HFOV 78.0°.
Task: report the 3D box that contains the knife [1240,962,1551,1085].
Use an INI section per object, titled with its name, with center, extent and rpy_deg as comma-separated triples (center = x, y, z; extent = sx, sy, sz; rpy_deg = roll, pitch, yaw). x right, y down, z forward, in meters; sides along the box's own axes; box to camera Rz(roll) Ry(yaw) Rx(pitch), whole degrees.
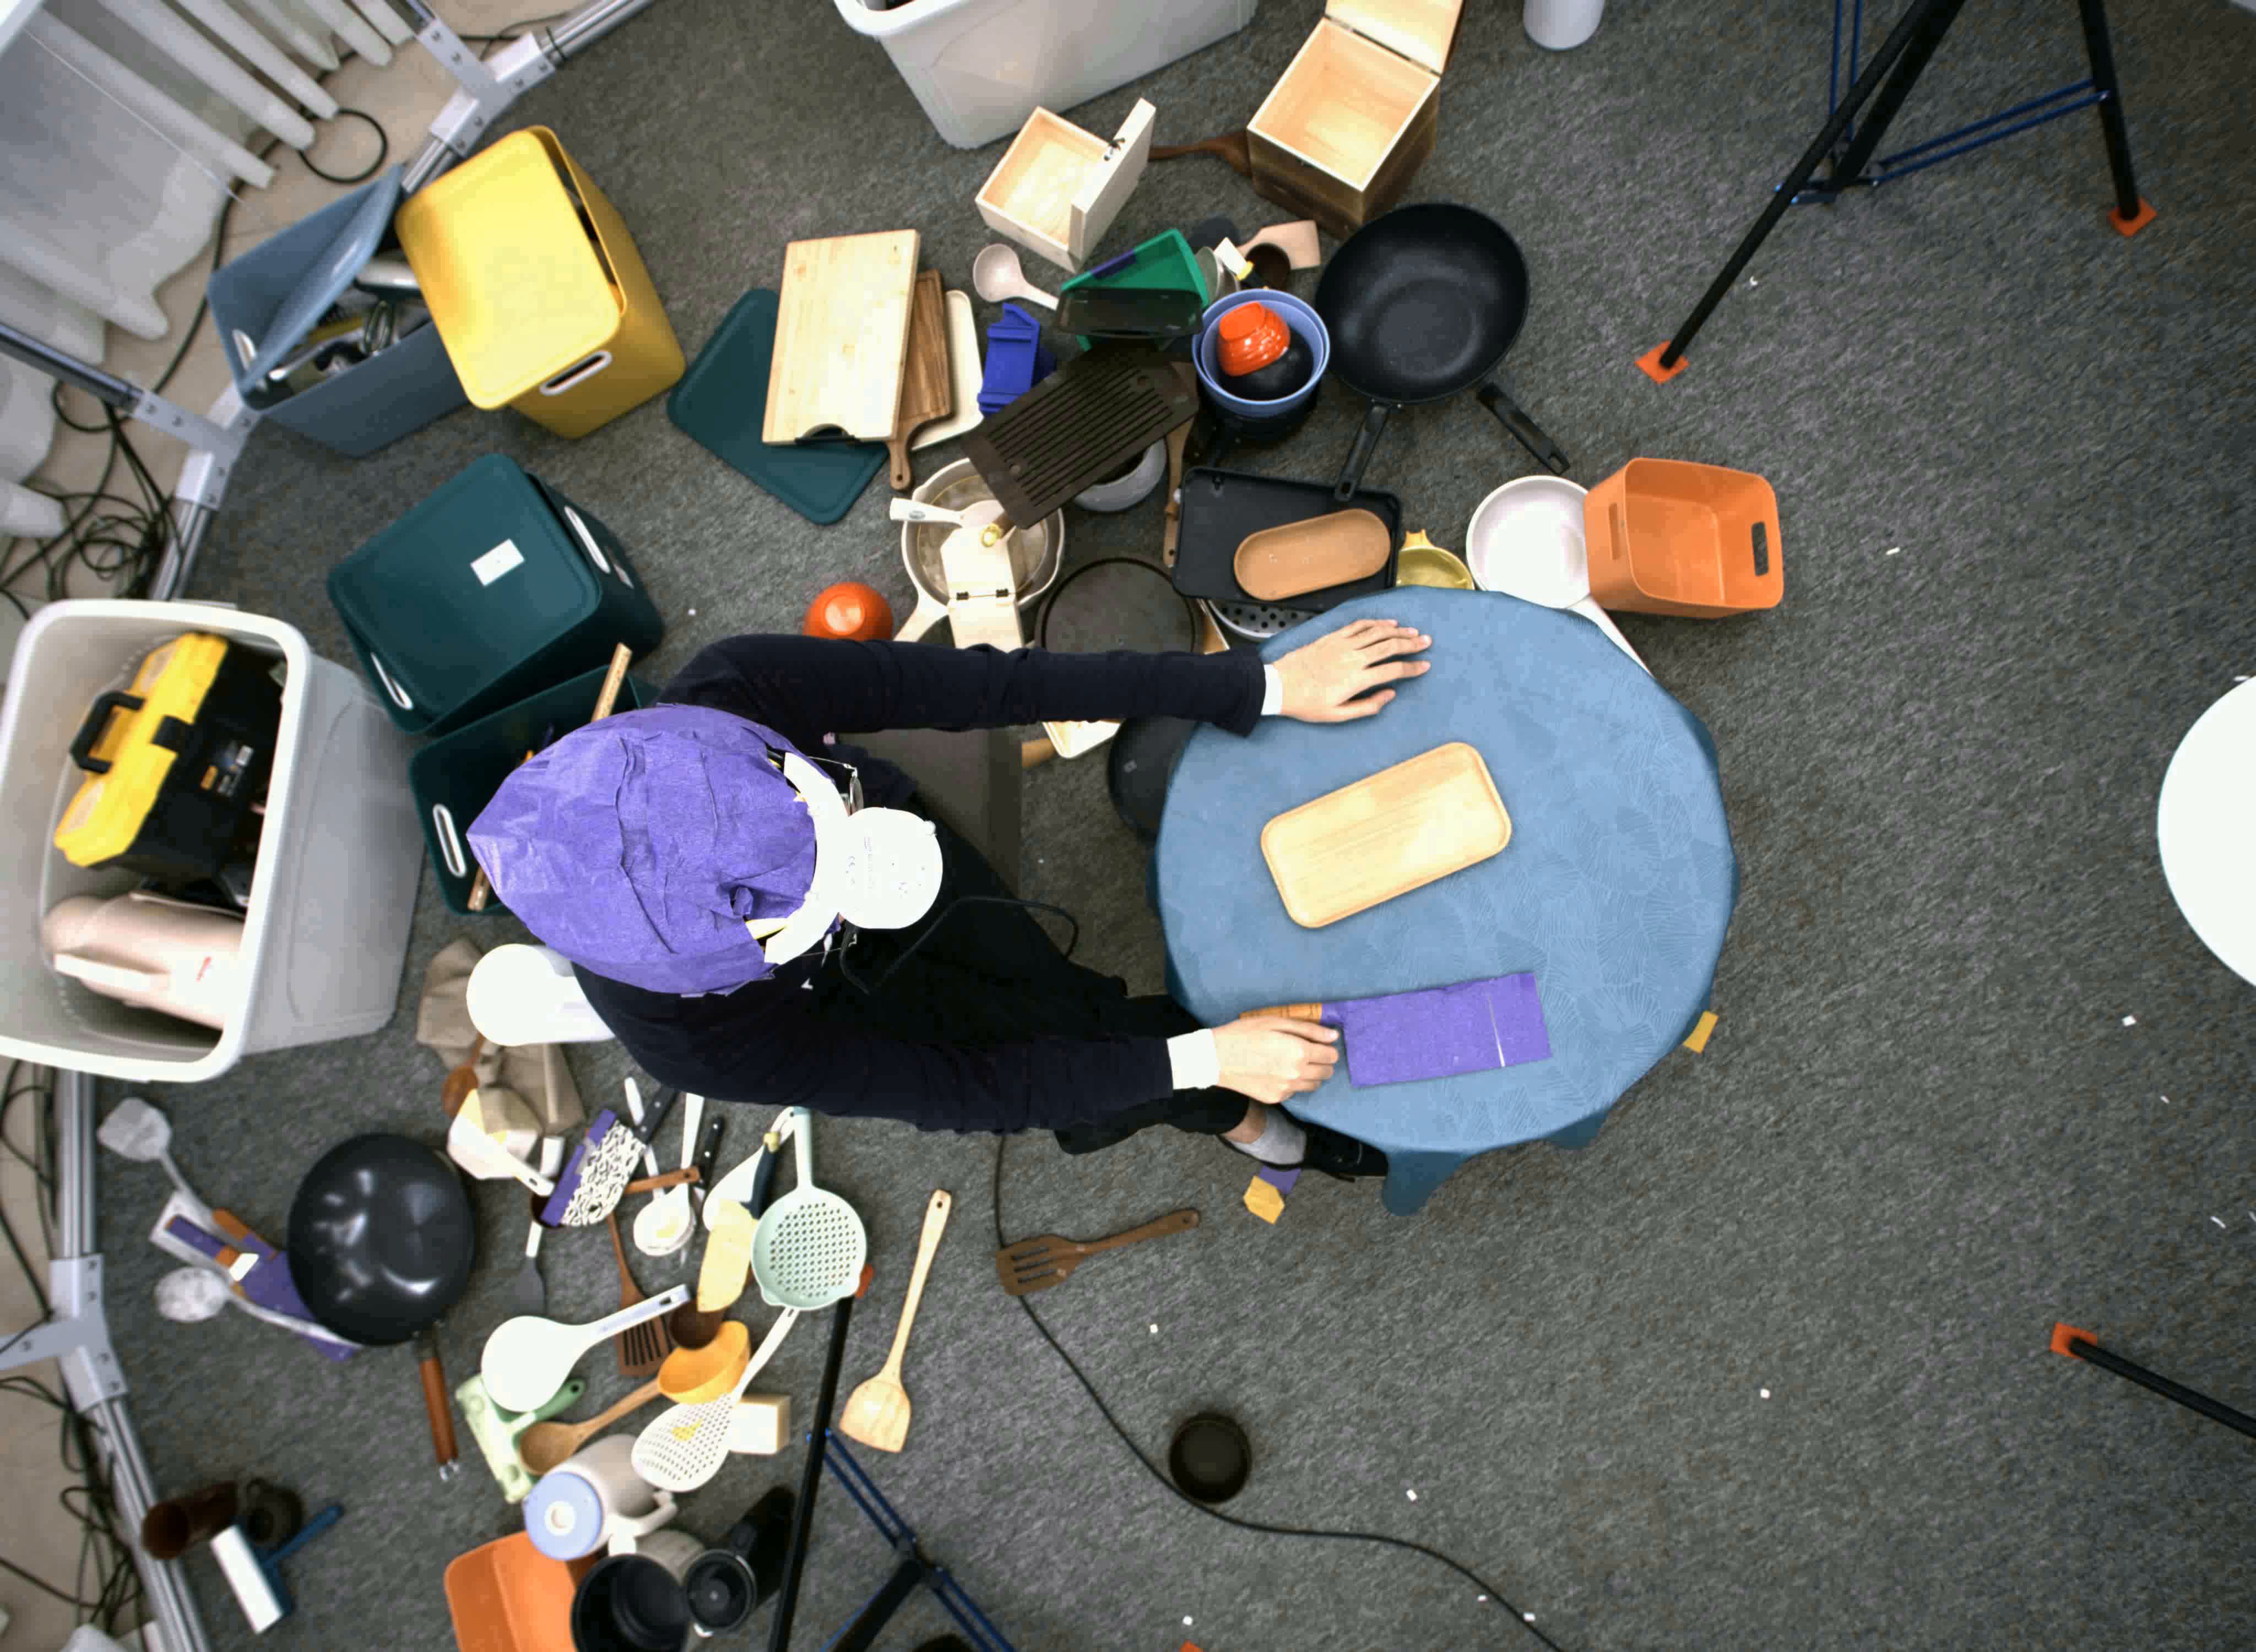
[knife]
center = 0.278, 0.216, 1.437
extent = 0.317, 0.032, 0.103
rpy_deg = -11, 84, 9

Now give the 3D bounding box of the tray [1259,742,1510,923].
[tray]
center = 0.269, 0.007, 1.456
extent = 0.252, 0.023, 0.129
rpy_deg = -21, 81, 10
